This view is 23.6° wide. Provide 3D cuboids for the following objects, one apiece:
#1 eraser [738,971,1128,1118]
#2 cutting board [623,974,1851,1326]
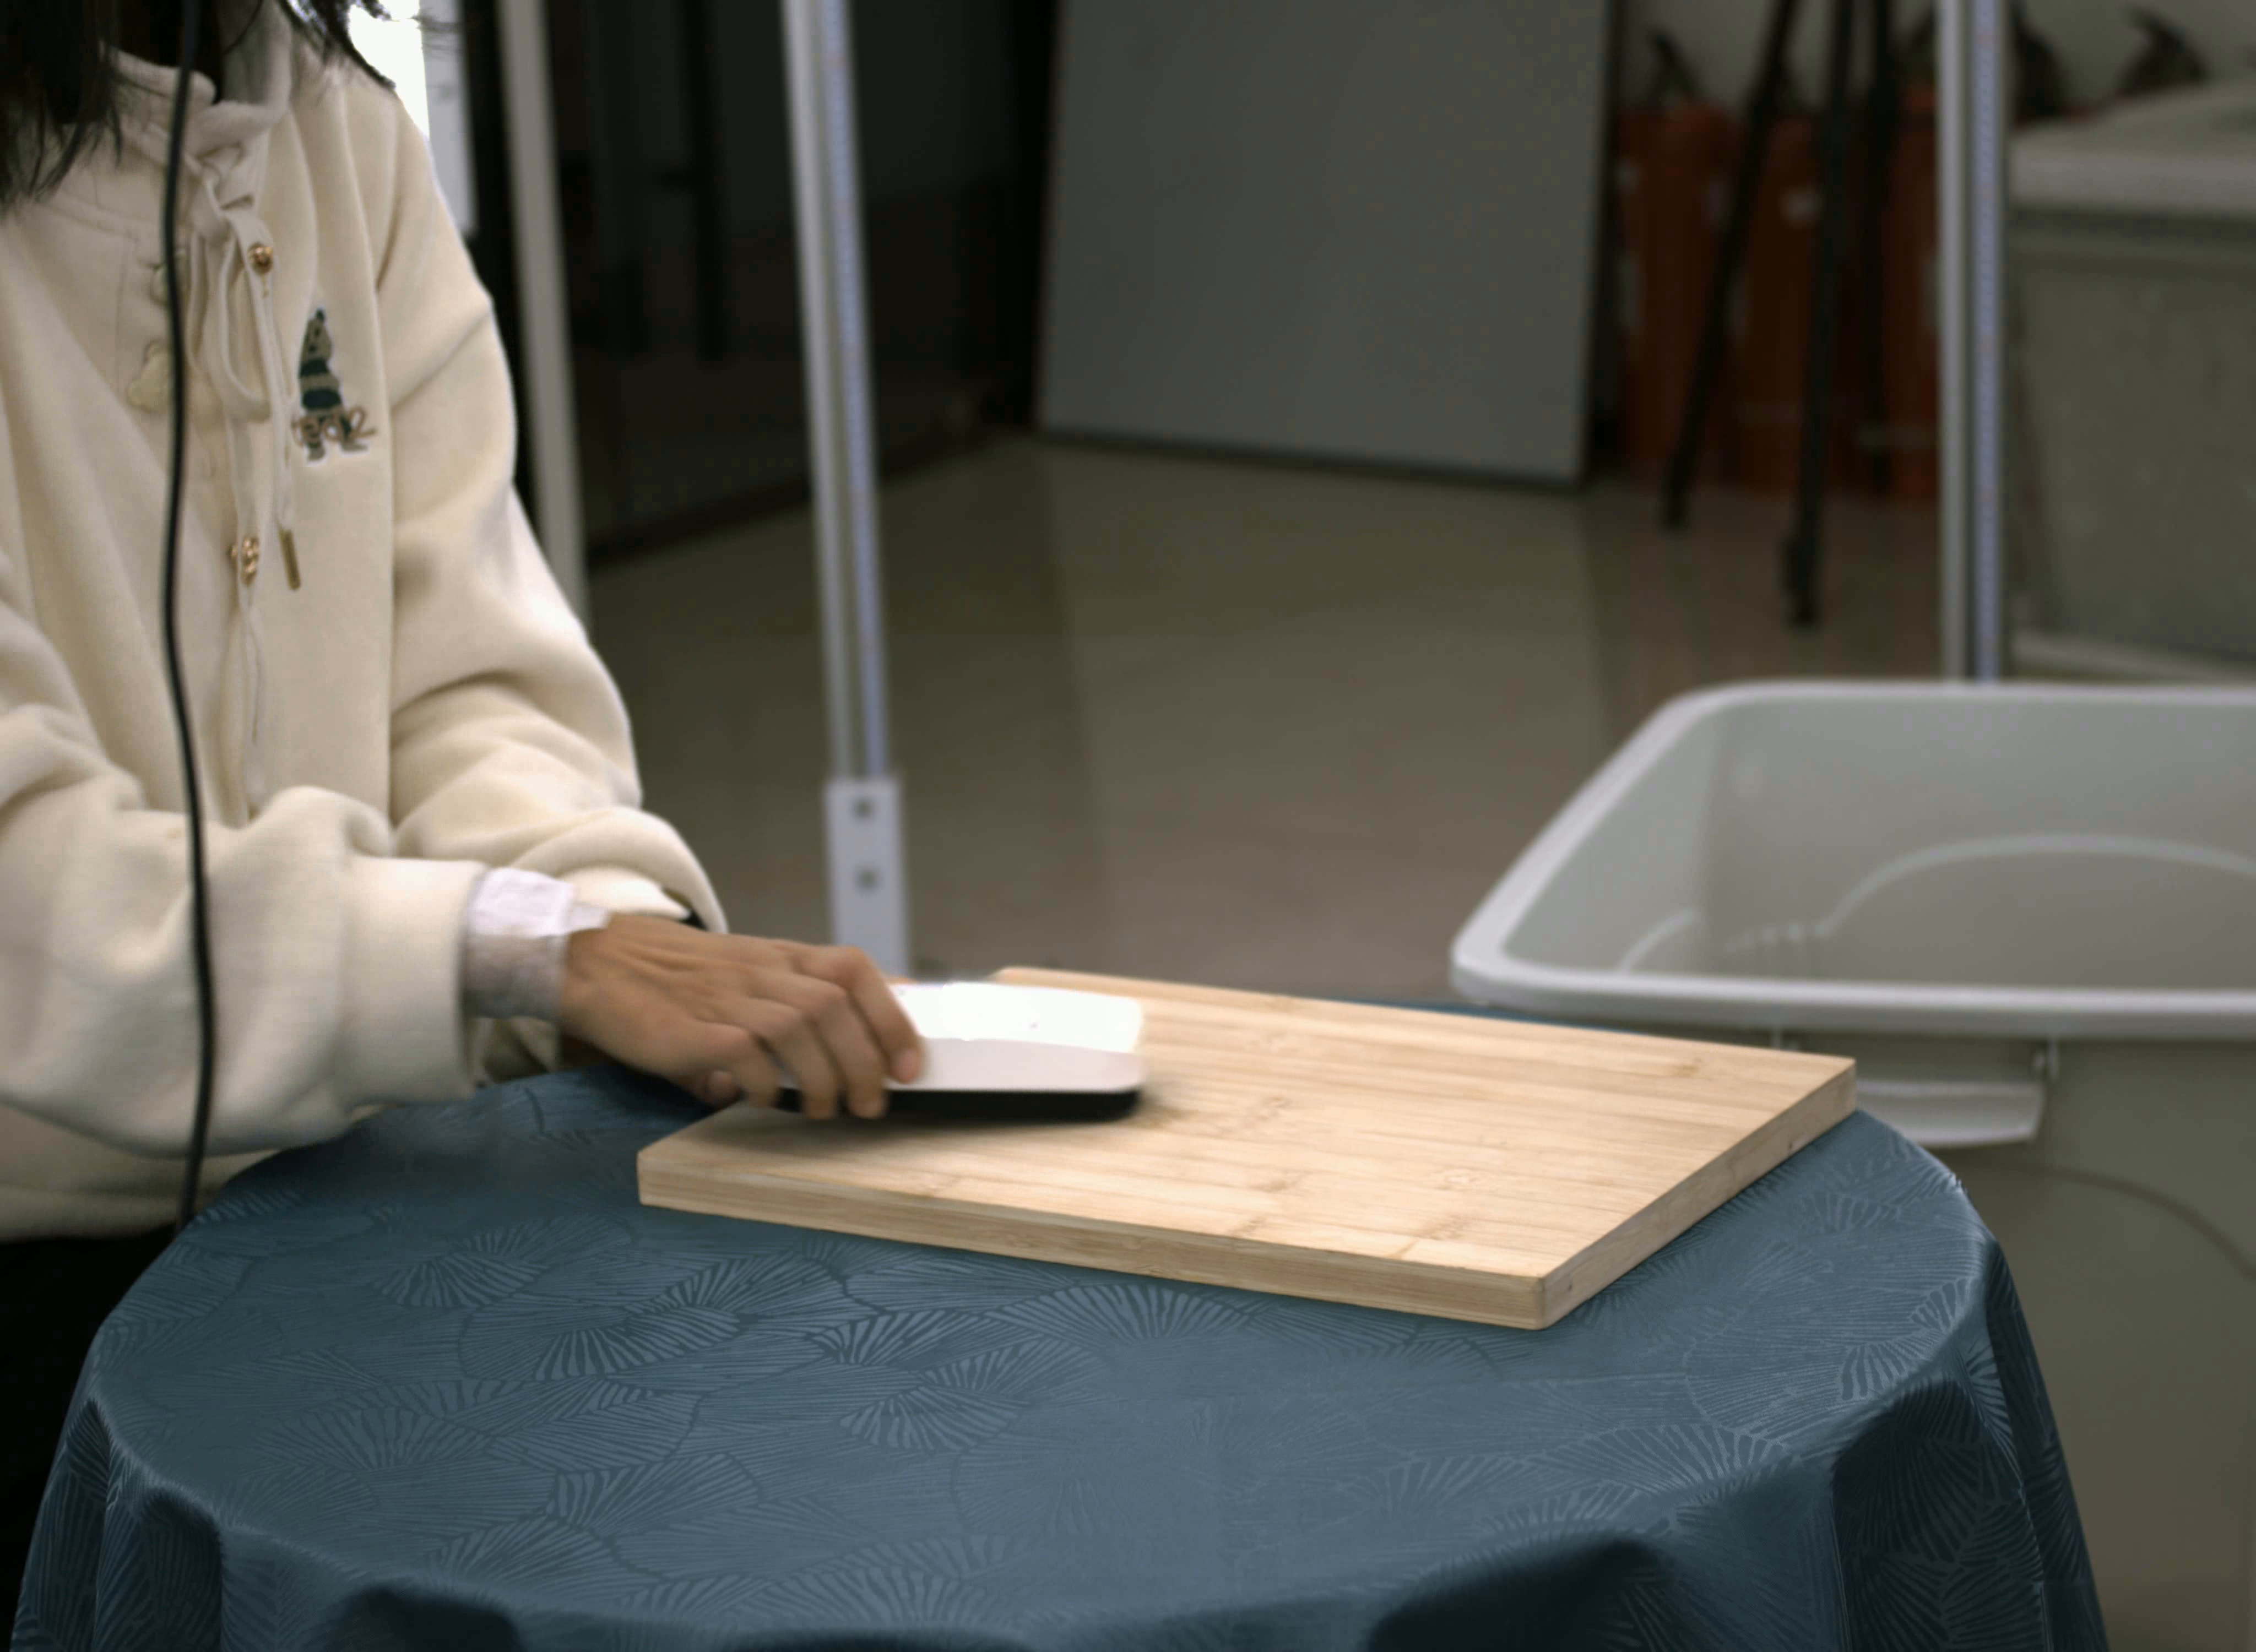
[{"bbox_3d":[-0.065,0.074,1.805,0.129,0.035,0.063,1,15,1],"label":"eraser"},{"bbox_3d":[0.037,0.103,1.799,0.350,0.024,0.247,4,16,31],"label":"cutting board"}]
